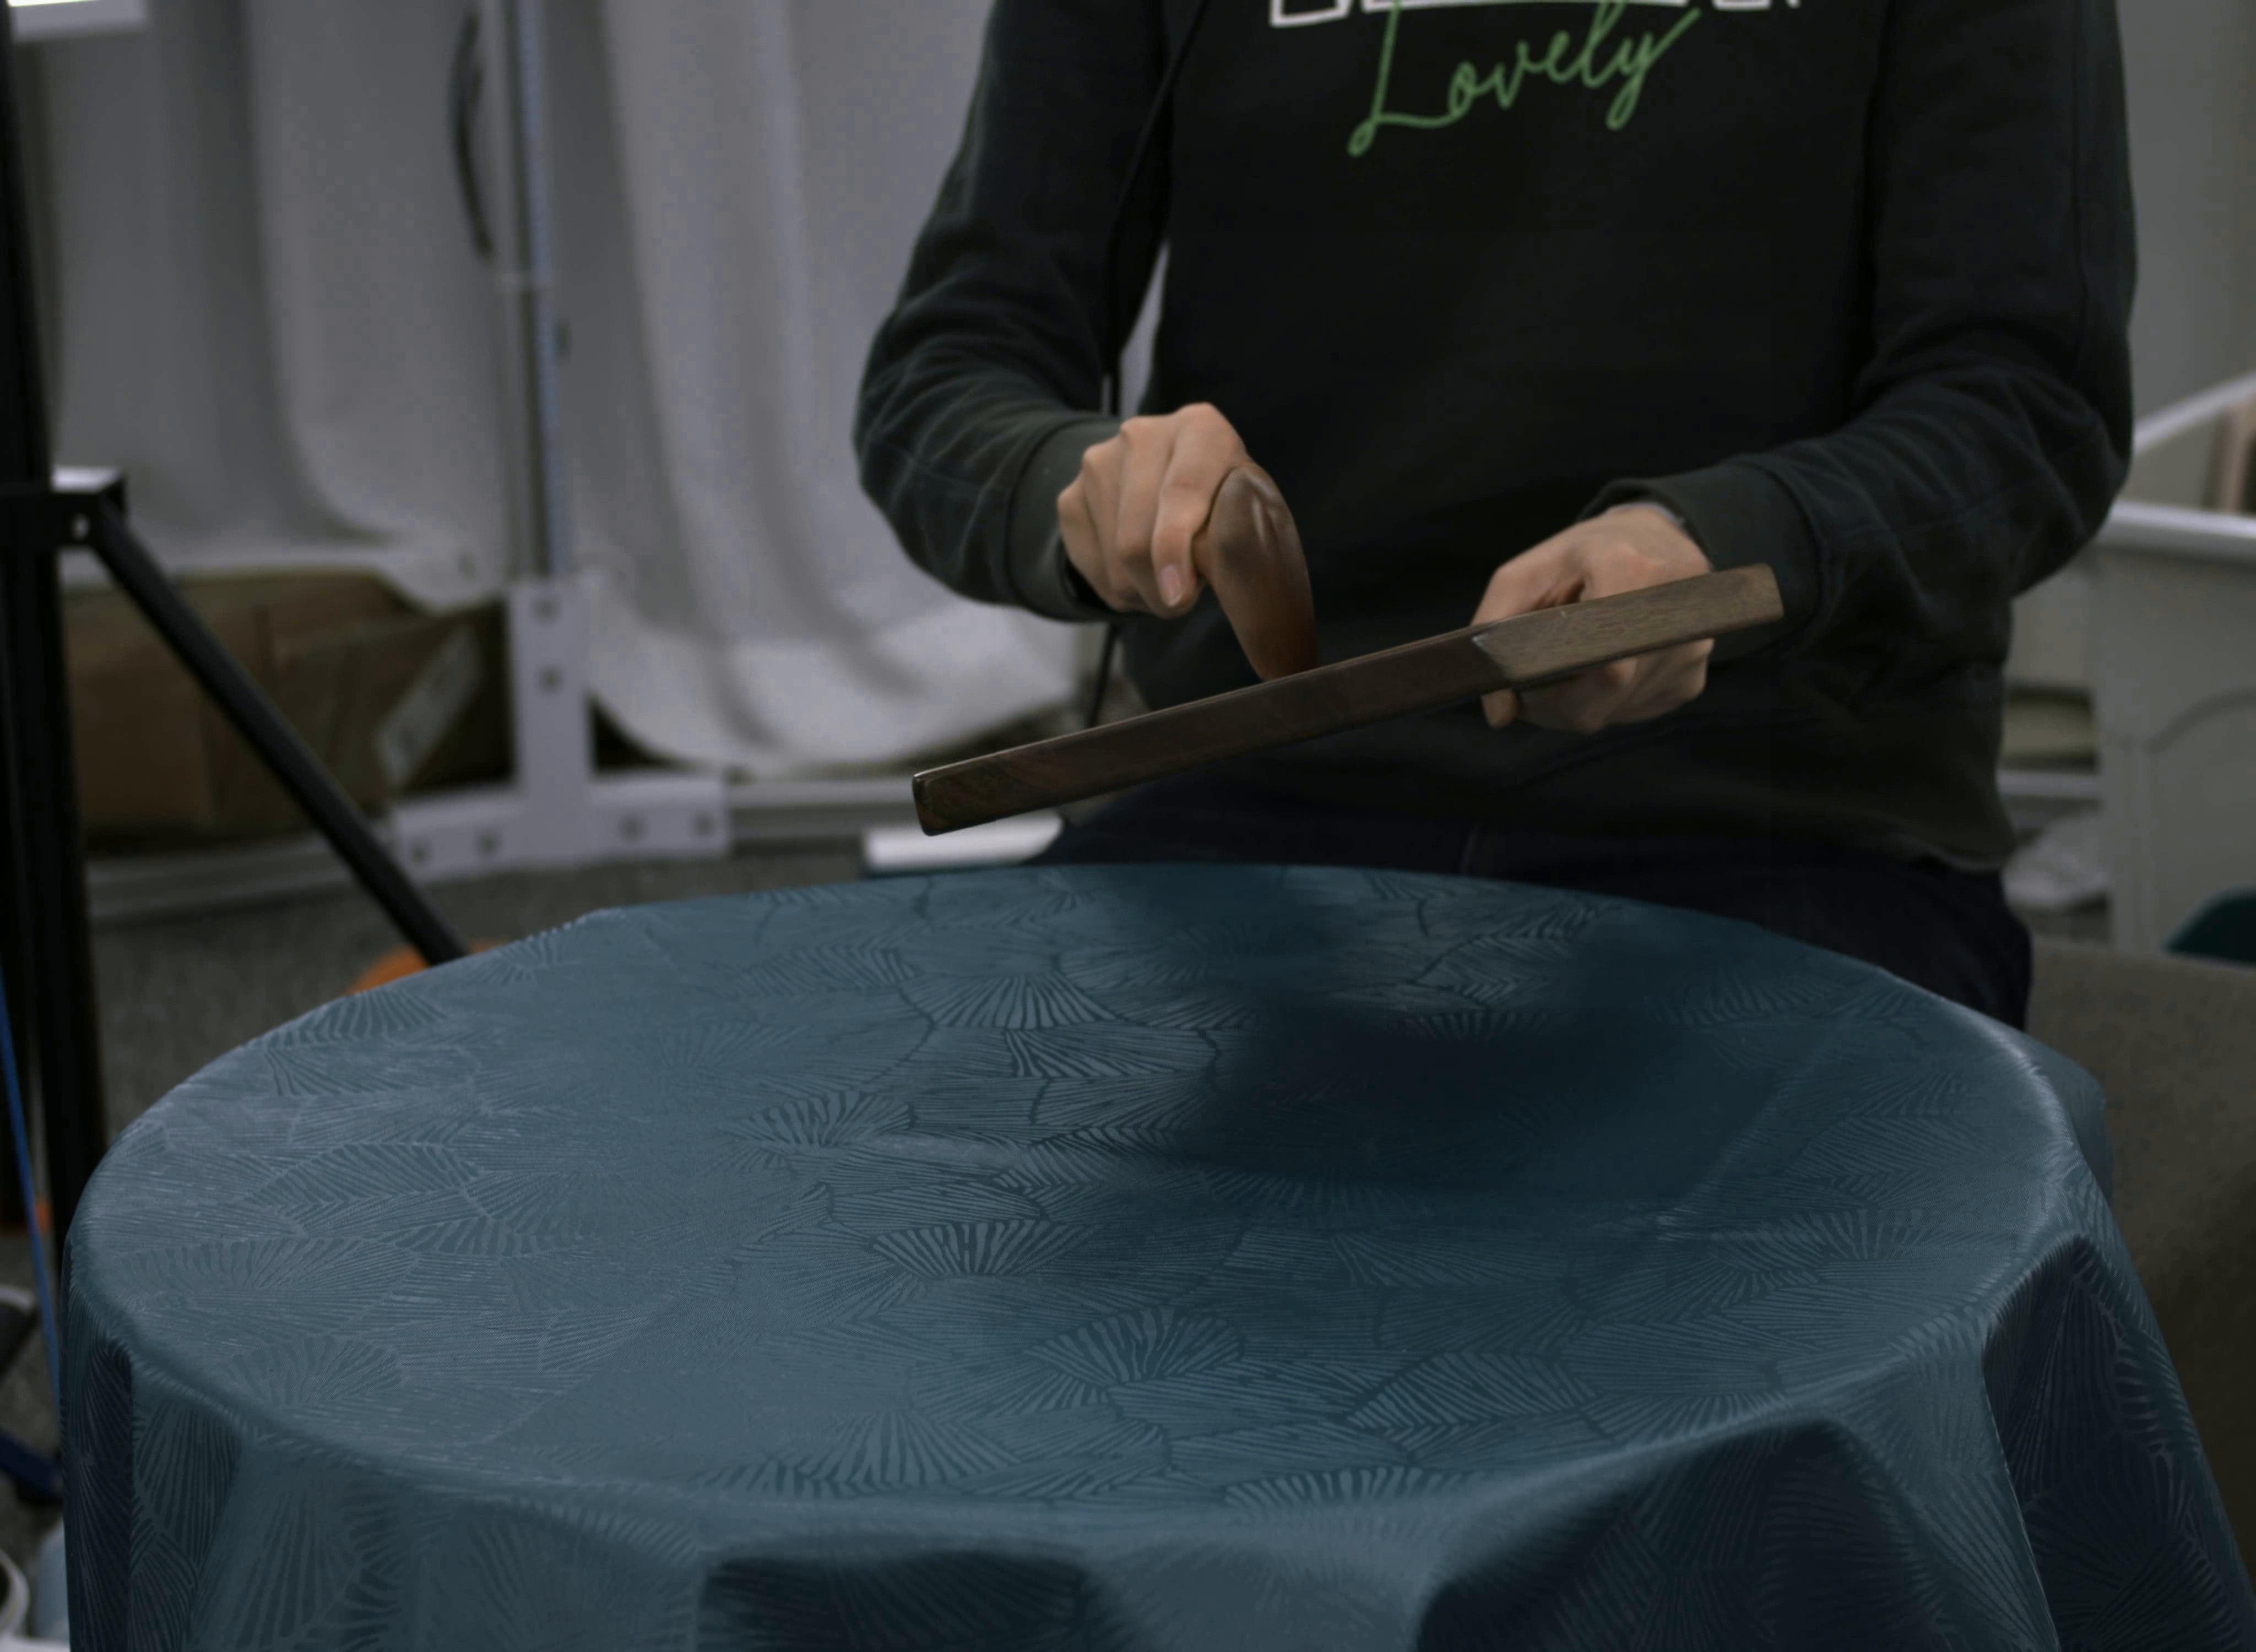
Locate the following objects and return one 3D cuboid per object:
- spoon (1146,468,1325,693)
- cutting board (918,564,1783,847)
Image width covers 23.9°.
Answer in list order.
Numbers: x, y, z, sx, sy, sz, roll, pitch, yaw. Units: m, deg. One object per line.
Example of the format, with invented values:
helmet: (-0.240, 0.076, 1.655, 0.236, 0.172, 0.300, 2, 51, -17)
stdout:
spoon: (0.031, -0.084, 1.726, 0.017, 0.075, 0.218, -17, 11, -7)
cutting board: (0.091, -0.042, 1.641, 0.203, 0.023, 0.346, -15, -1, 25)
